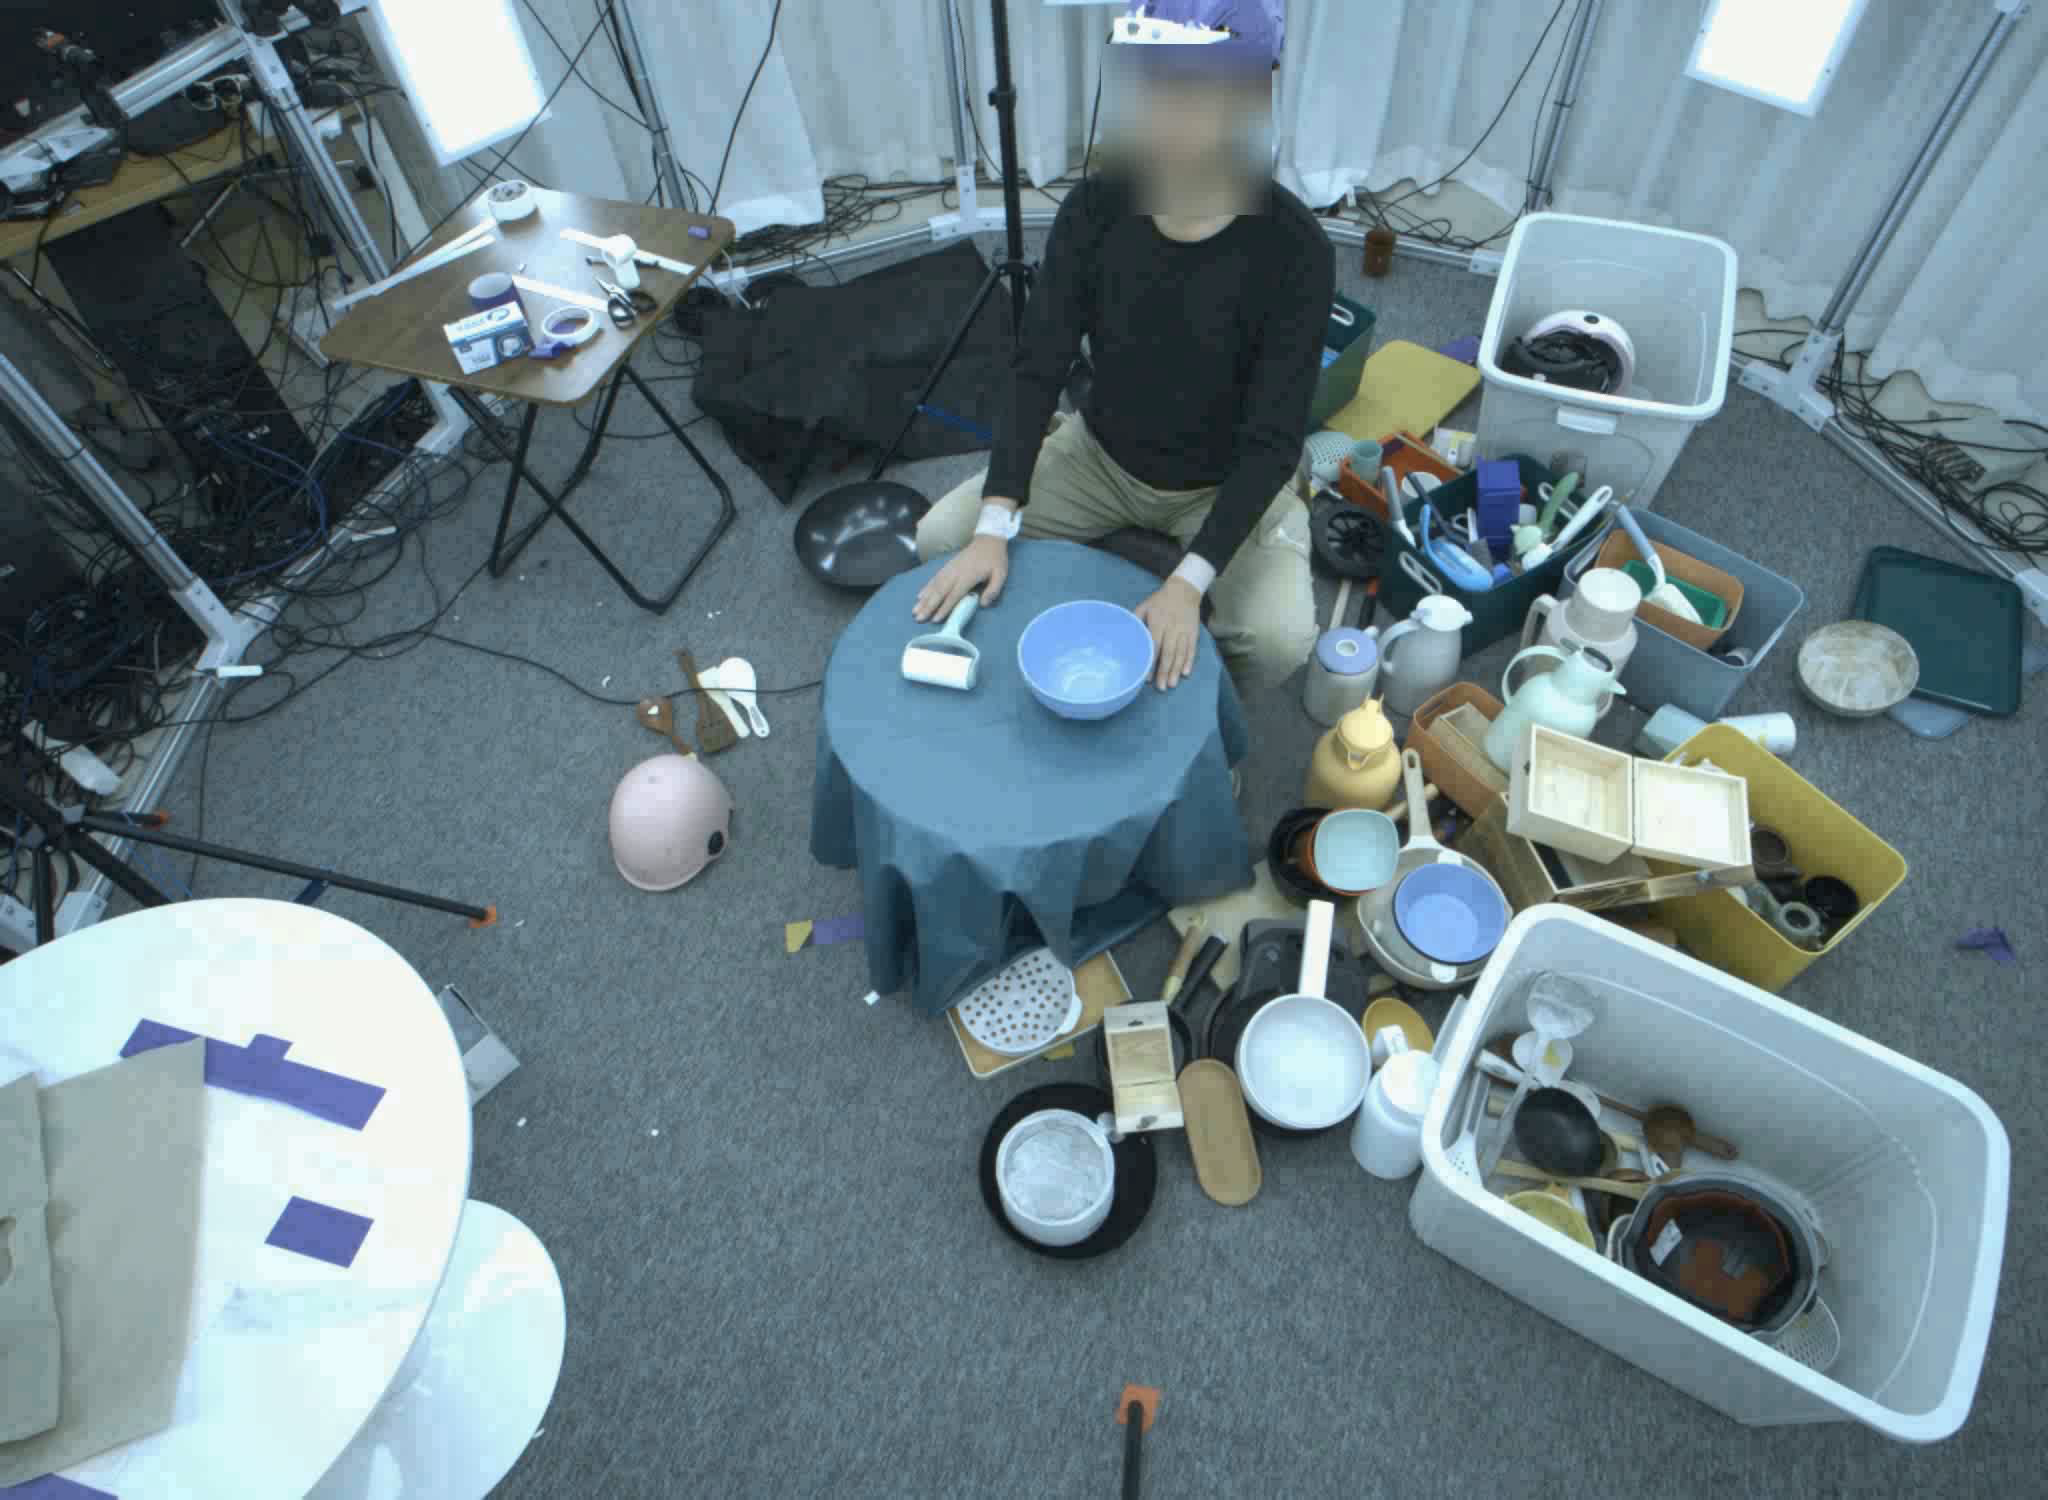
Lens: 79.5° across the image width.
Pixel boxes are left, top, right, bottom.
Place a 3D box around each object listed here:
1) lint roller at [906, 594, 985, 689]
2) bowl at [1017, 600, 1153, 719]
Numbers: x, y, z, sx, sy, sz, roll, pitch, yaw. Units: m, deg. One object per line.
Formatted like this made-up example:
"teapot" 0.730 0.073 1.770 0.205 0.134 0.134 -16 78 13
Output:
"lint roller" -0.101 -0.178 1.889 0.116 0.049 0.197 10 55 11
"bowl" 0.091 -0.118 1.809 0.196 0.096 0.194 -1 54 3
